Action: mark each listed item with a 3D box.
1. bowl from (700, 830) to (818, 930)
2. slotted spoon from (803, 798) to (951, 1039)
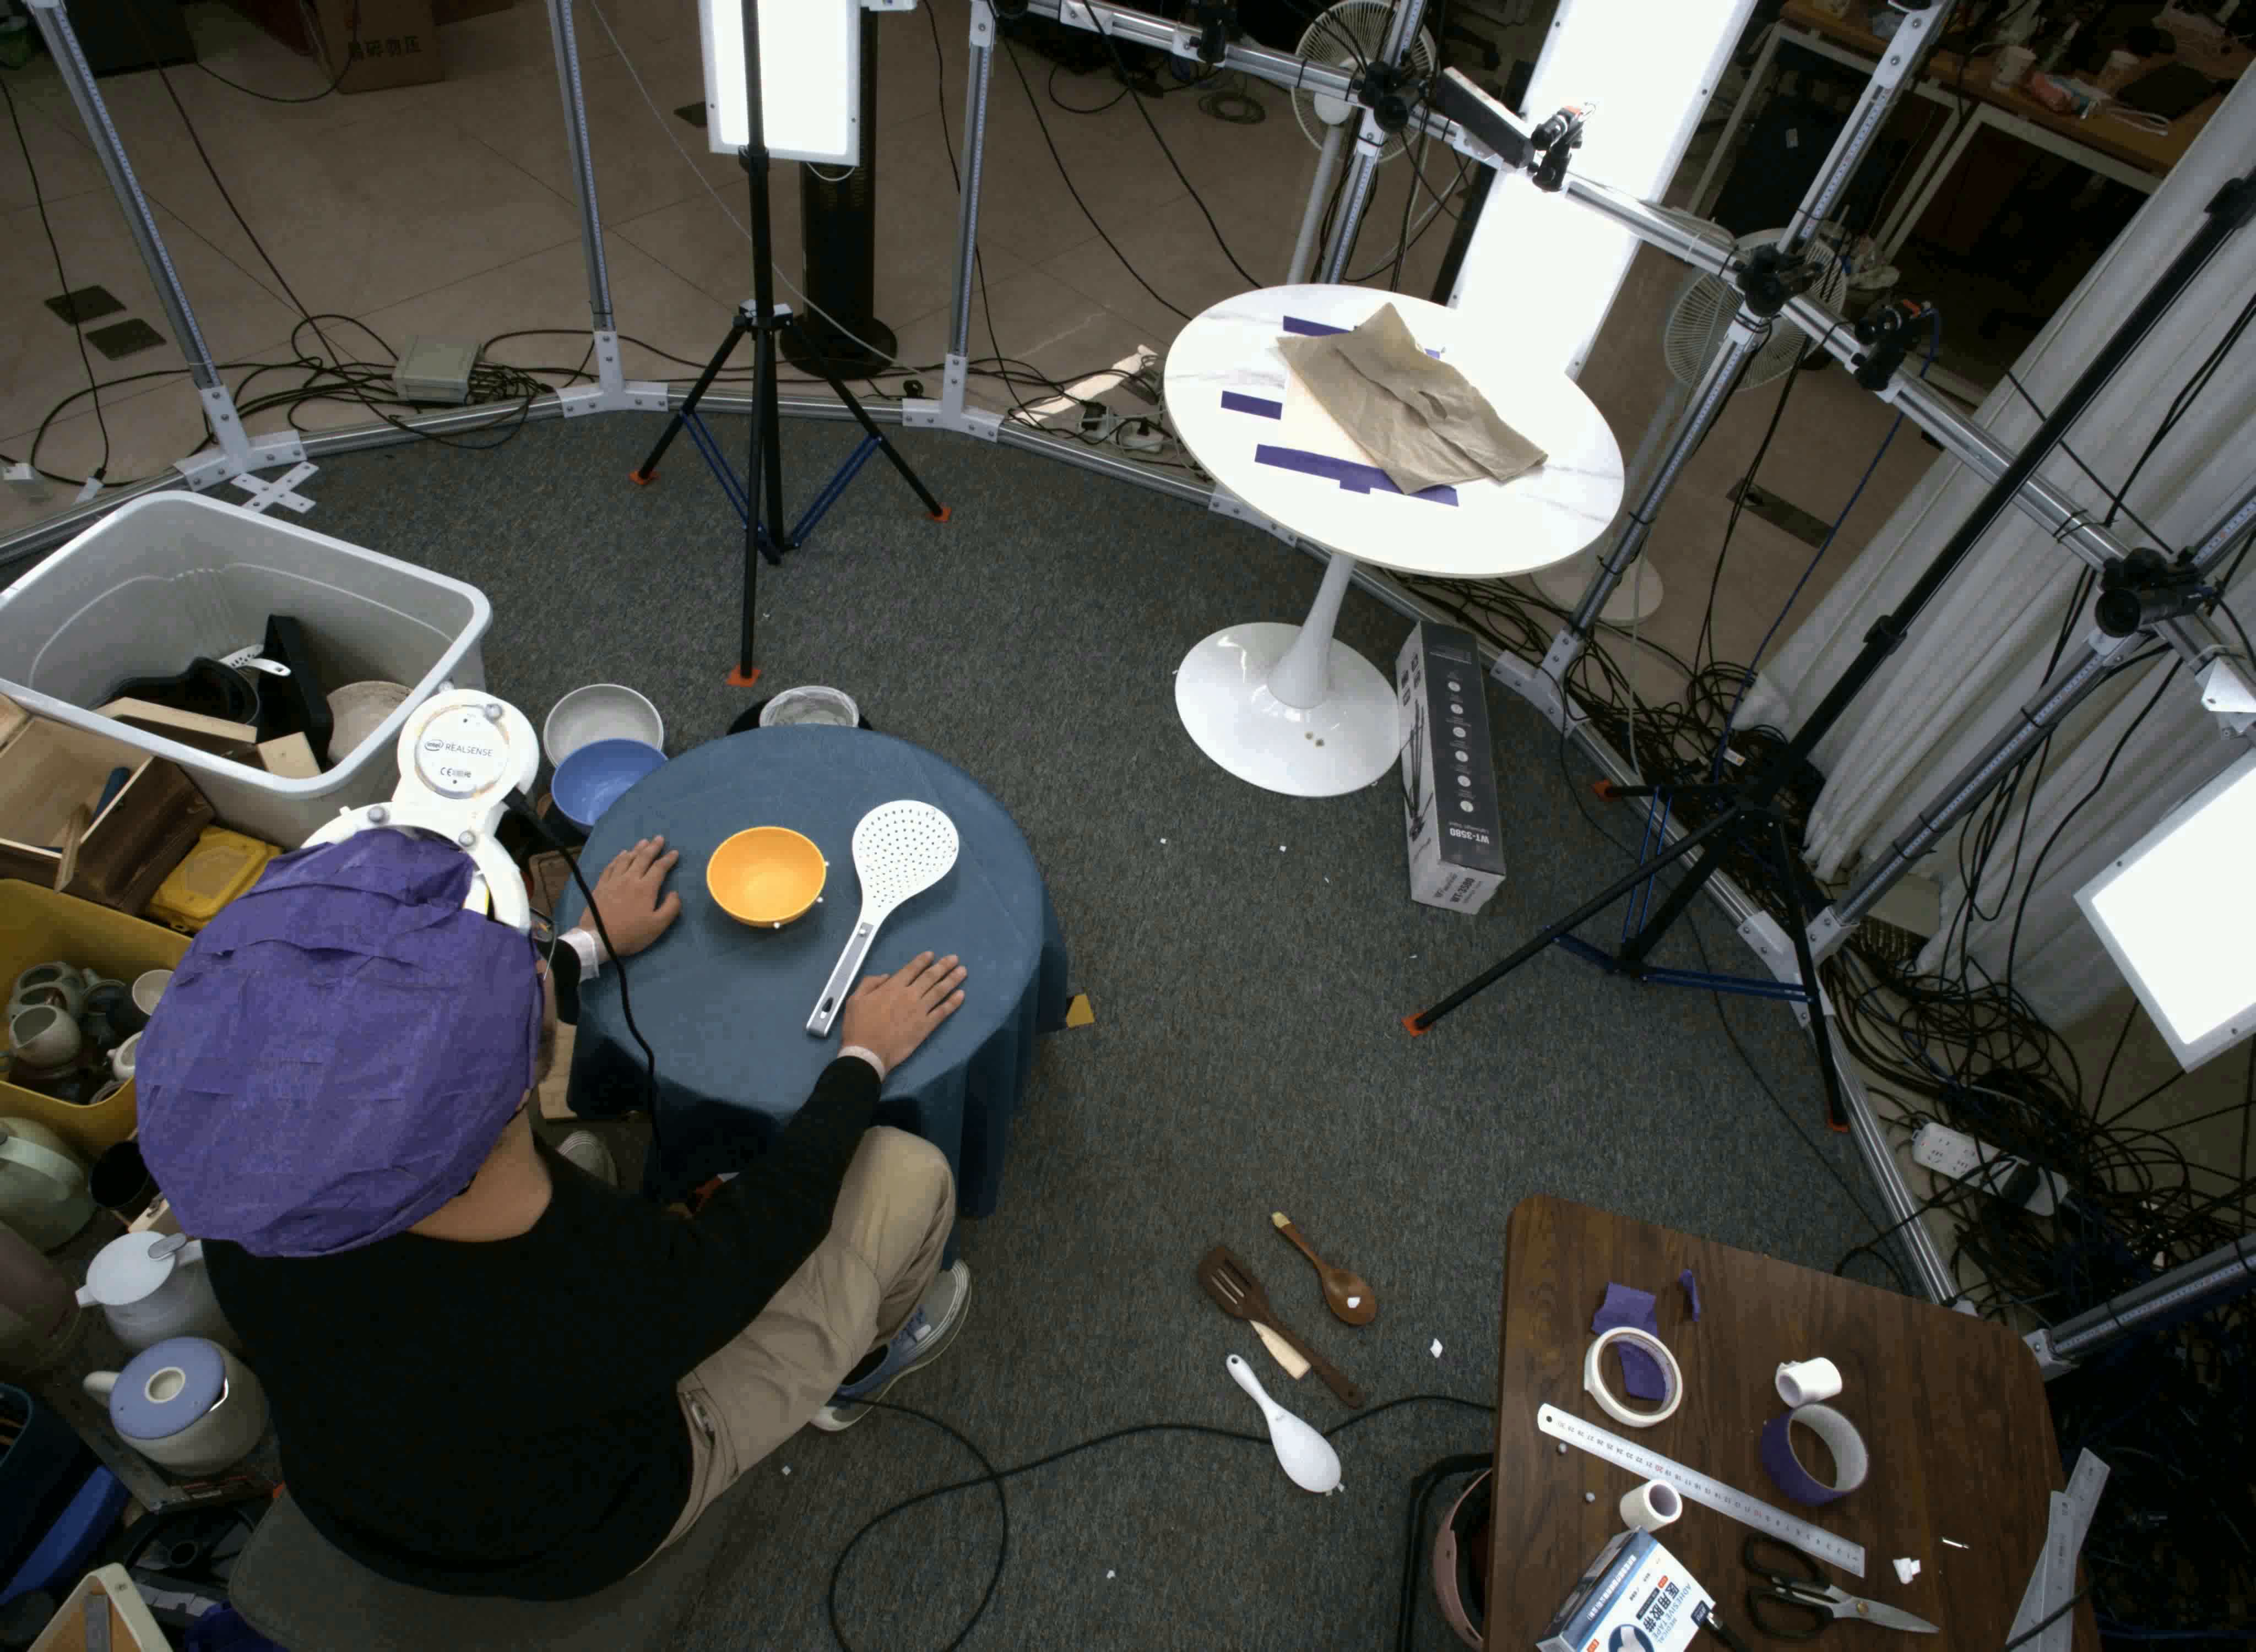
[{"bbox_3d":[-0.458,0.077,1.616,0.145,0.061,0.142,7,50,-7],"label":"bowl"},{"bbox_3d":[-0.327,0.109,1.633,0.135,0.046,0.346,18,52,1],"label":"slotted spoon"}]
